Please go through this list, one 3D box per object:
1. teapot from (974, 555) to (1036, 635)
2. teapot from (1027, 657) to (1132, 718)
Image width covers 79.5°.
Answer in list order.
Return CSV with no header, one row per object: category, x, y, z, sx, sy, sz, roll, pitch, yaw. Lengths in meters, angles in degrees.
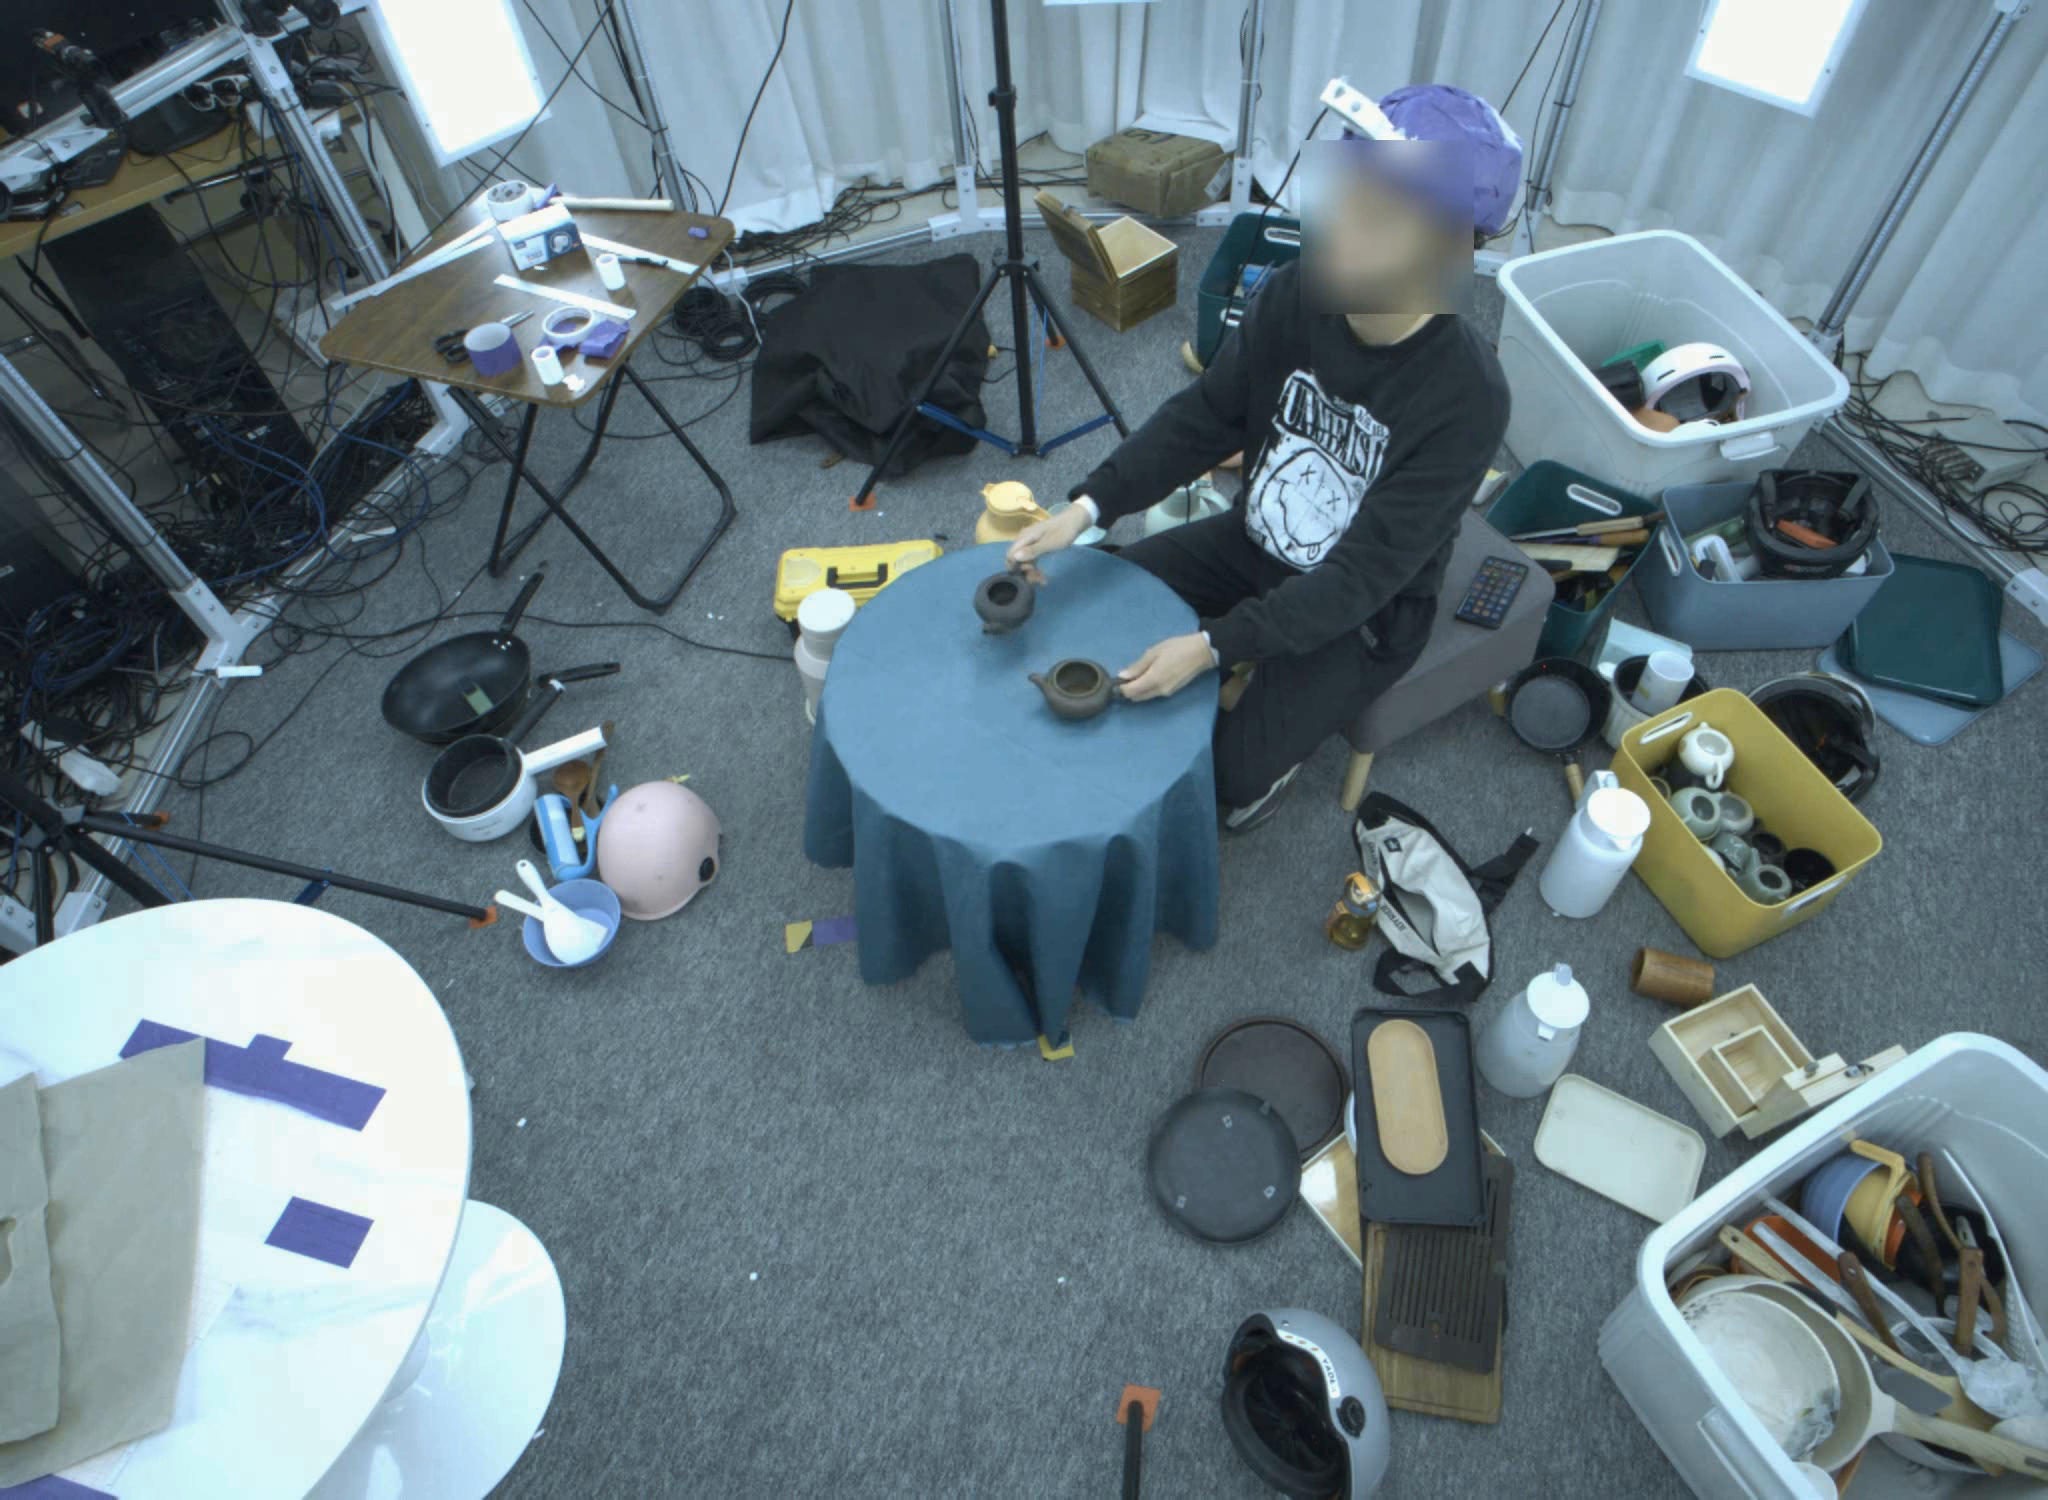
teapot,-0.028,-0.230,1.868,0.091,0.065,0.154,20,69,13
teapot,0.082,-0.094,1.814,0.153,0.054,0.101,-4,56,-1
